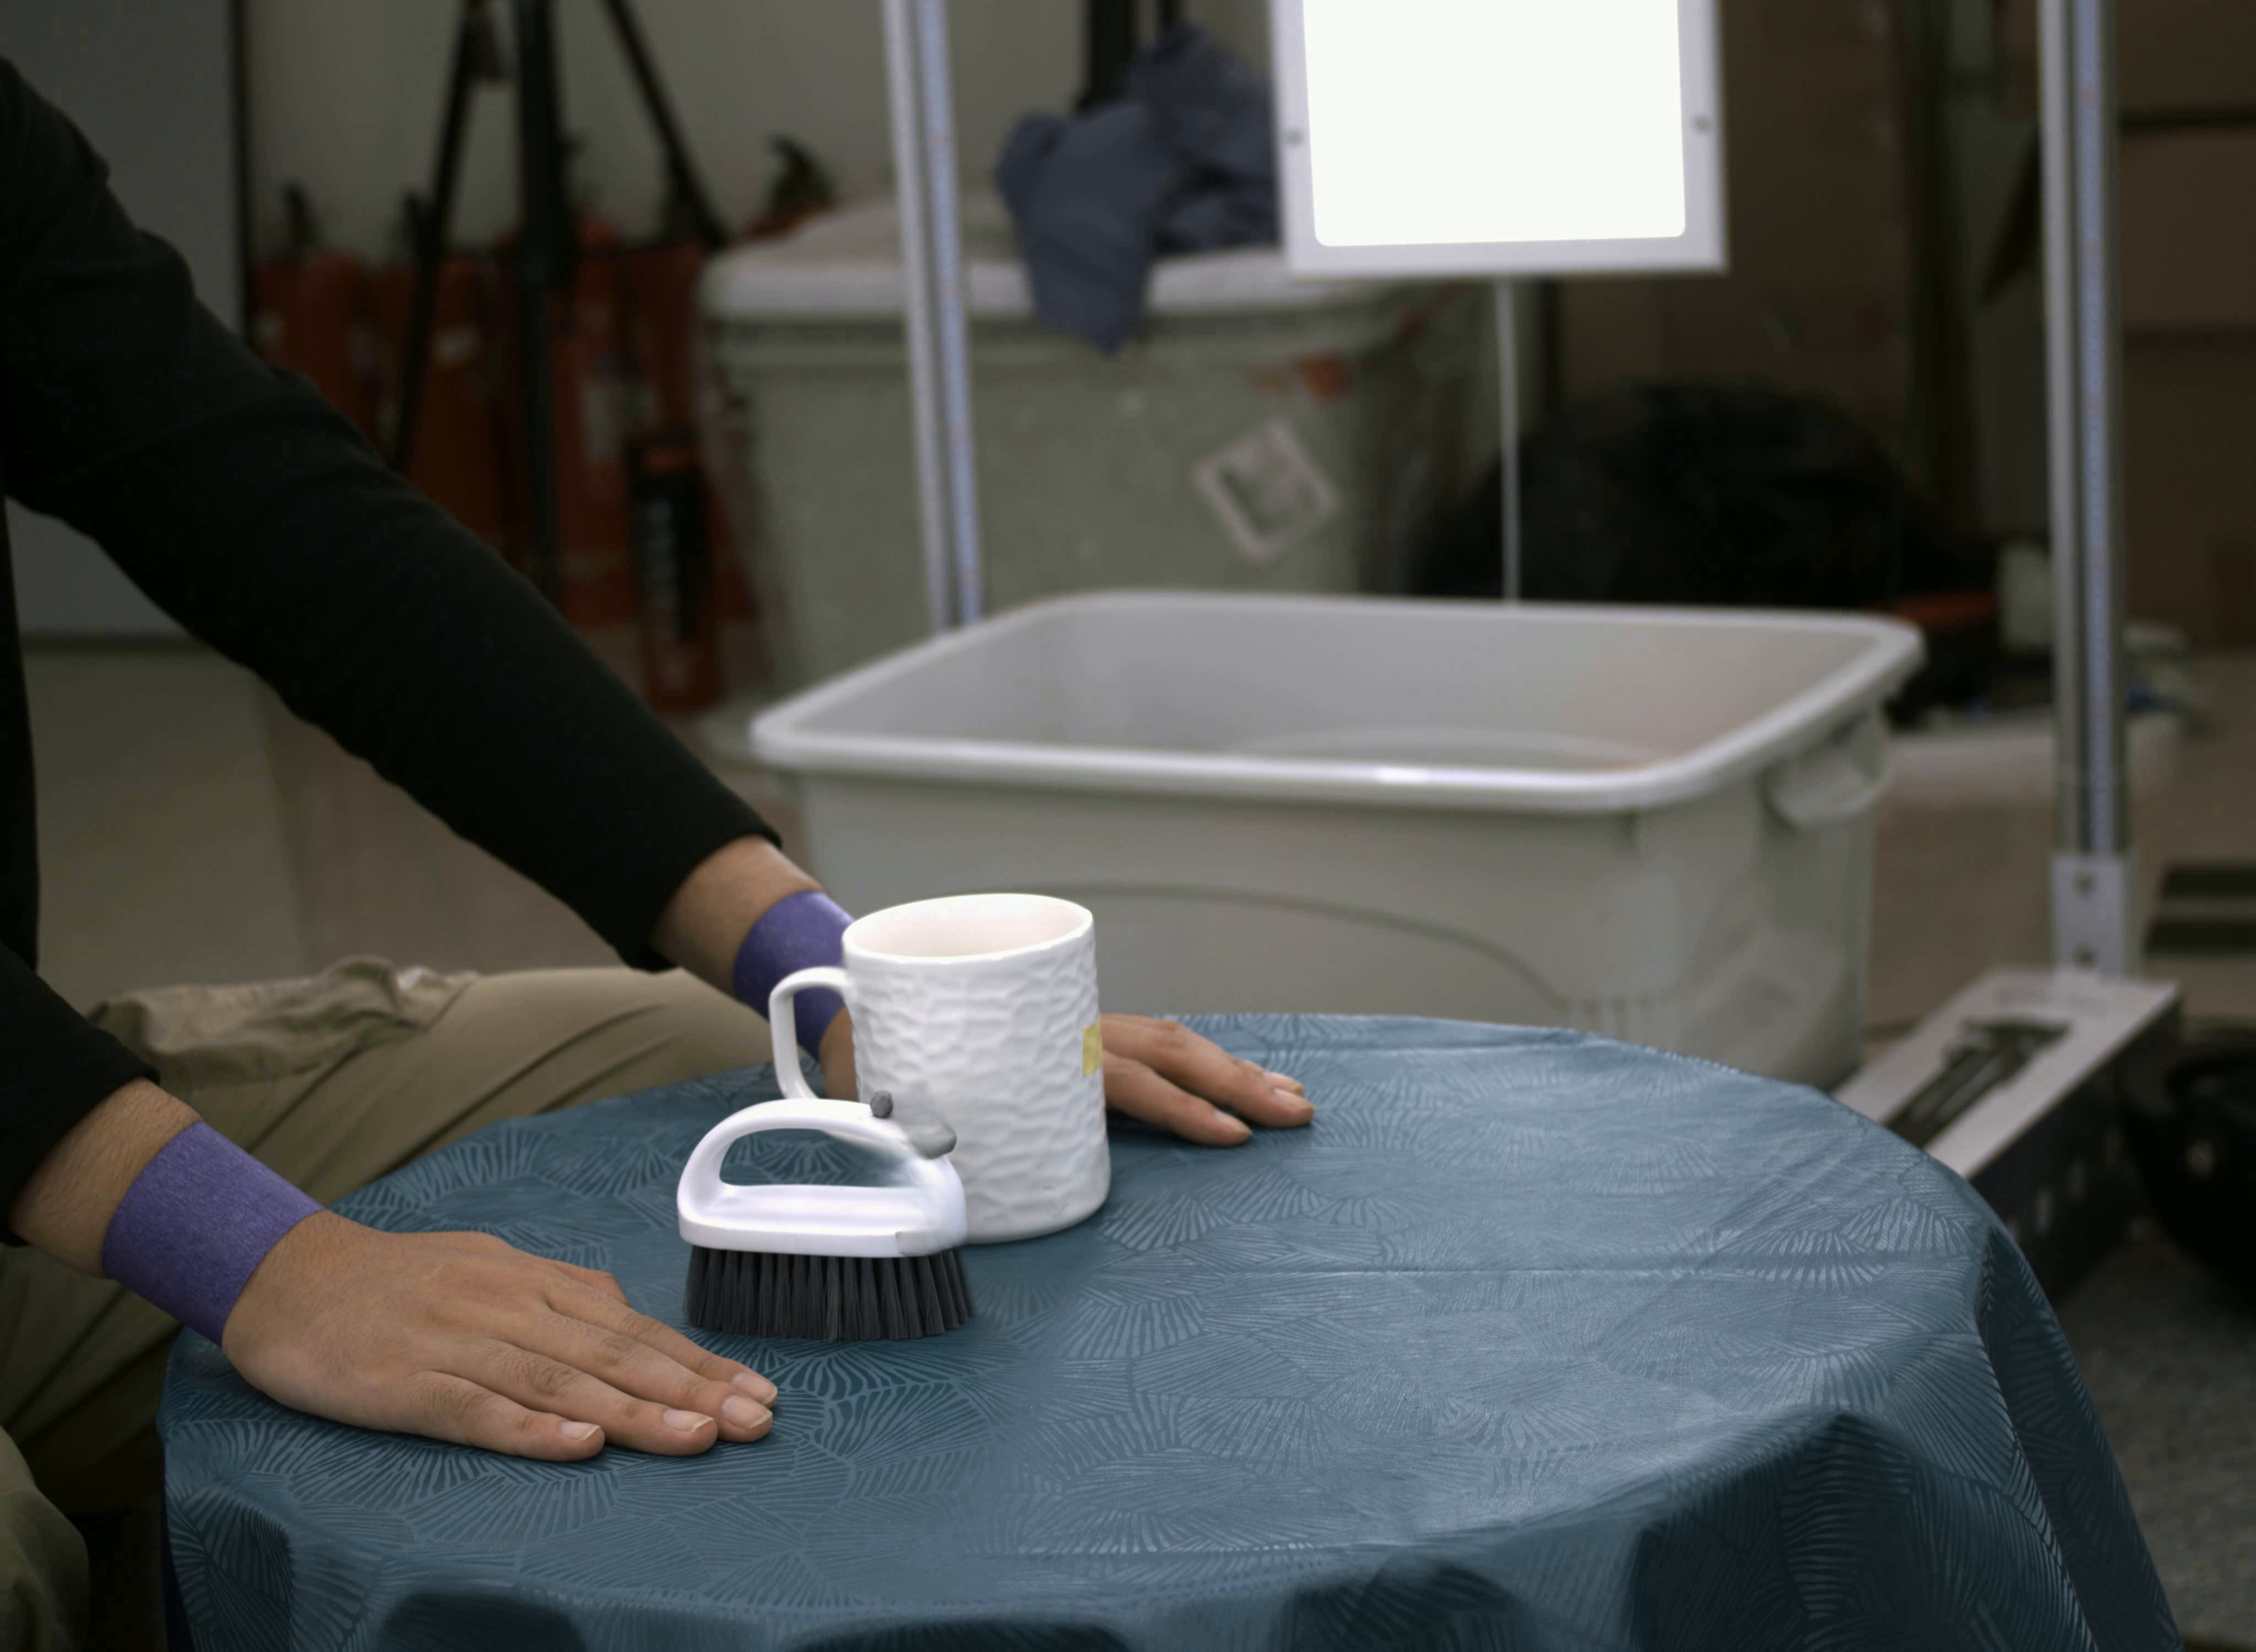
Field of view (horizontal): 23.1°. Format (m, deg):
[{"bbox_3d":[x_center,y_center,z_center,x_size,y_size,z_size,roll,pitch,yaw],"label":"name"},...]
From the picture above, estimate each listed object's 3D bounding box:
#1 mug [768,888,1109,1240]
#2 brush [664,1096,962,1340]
[{"bbox_3d":[-0.066,0.081,1.885,0.120,0.102,0.083,1,15,21],"label":"mug"},{"bbox_3d":[-0.102,0.124,1.788,0.100,0.073,0.049,3,11,16],"label":"brush"}]
